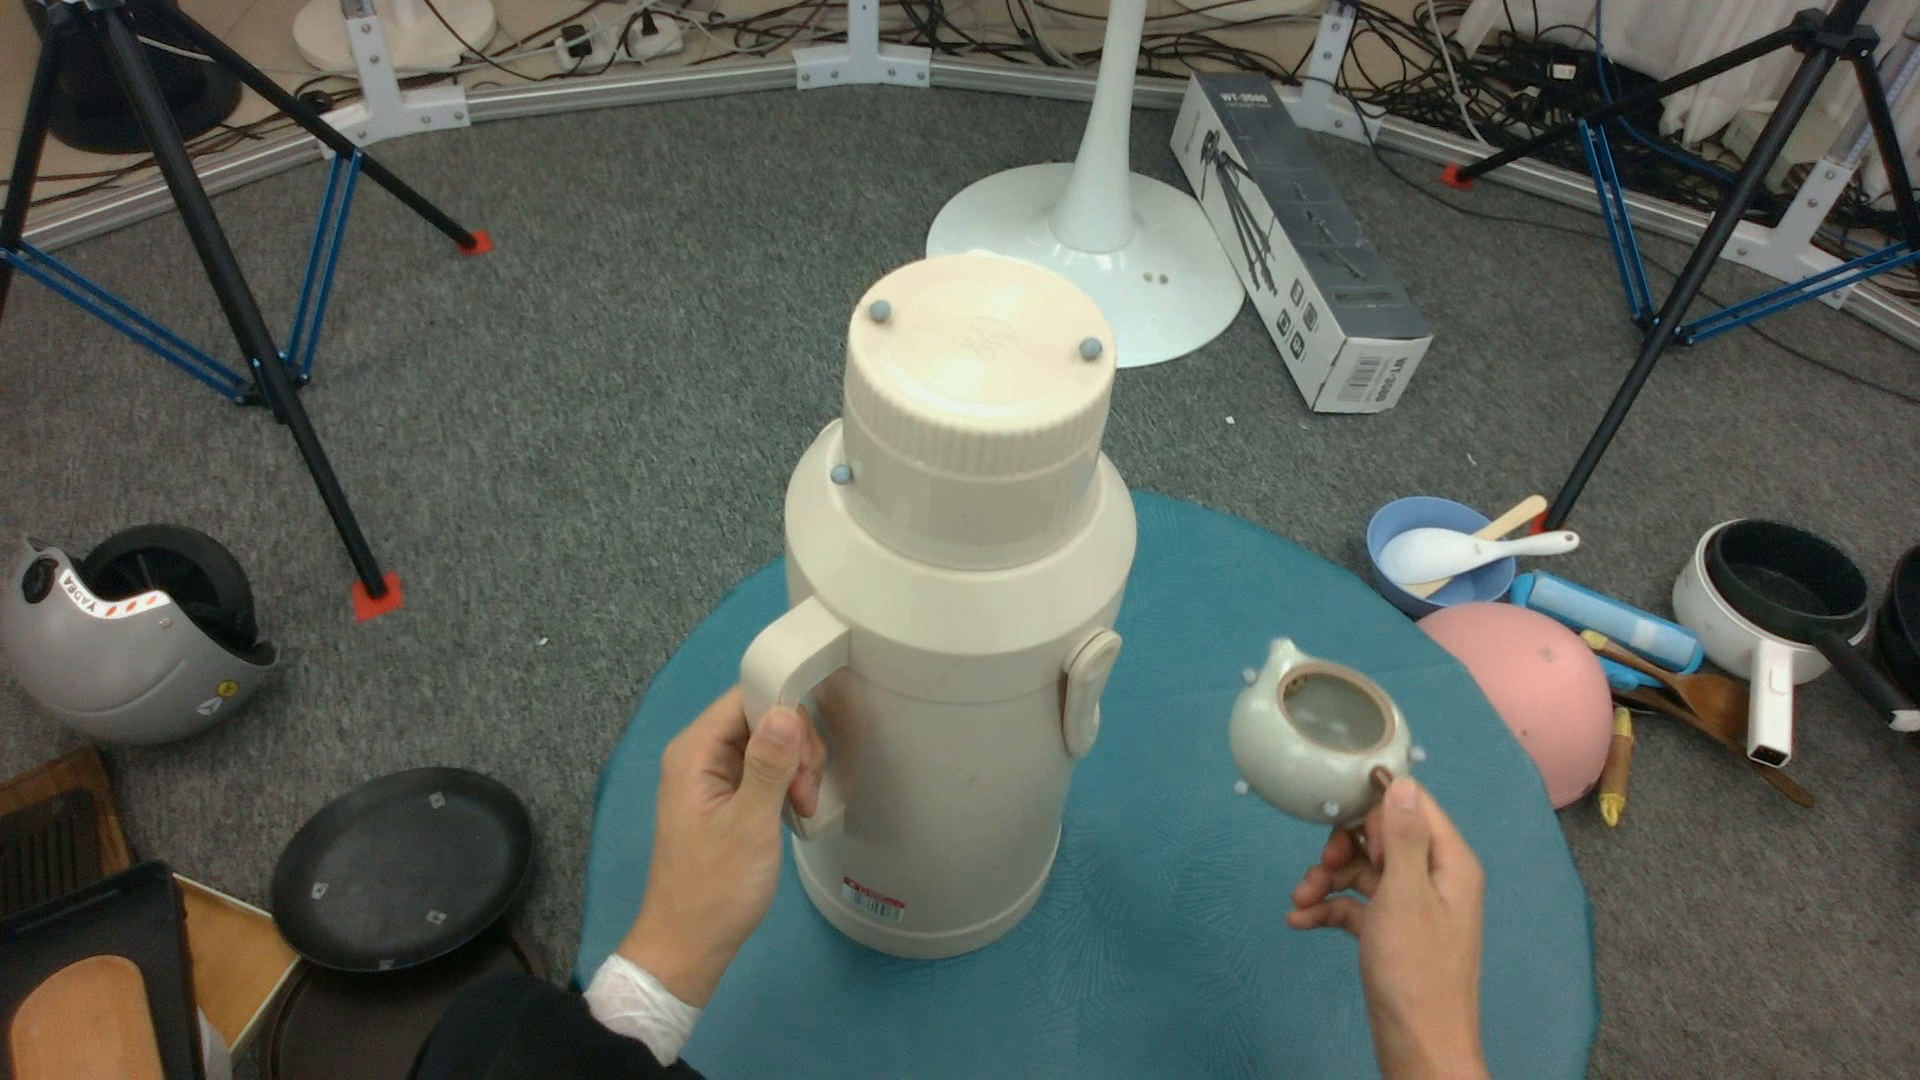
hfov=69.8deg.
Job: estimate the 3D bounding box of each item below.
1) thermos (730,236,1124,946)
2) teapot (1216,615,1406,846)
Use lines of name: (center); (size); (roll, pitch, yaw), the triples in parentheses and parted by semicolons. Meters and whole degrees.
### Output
thermos: (-0.025, 0.050, 0.673); (0.175, 0.404, 0.208); (39, 55, 22)
teapot: (0.181, 0.099, 0.698); (0.092, 0.059, 0.128); (-10, 46, -27)
